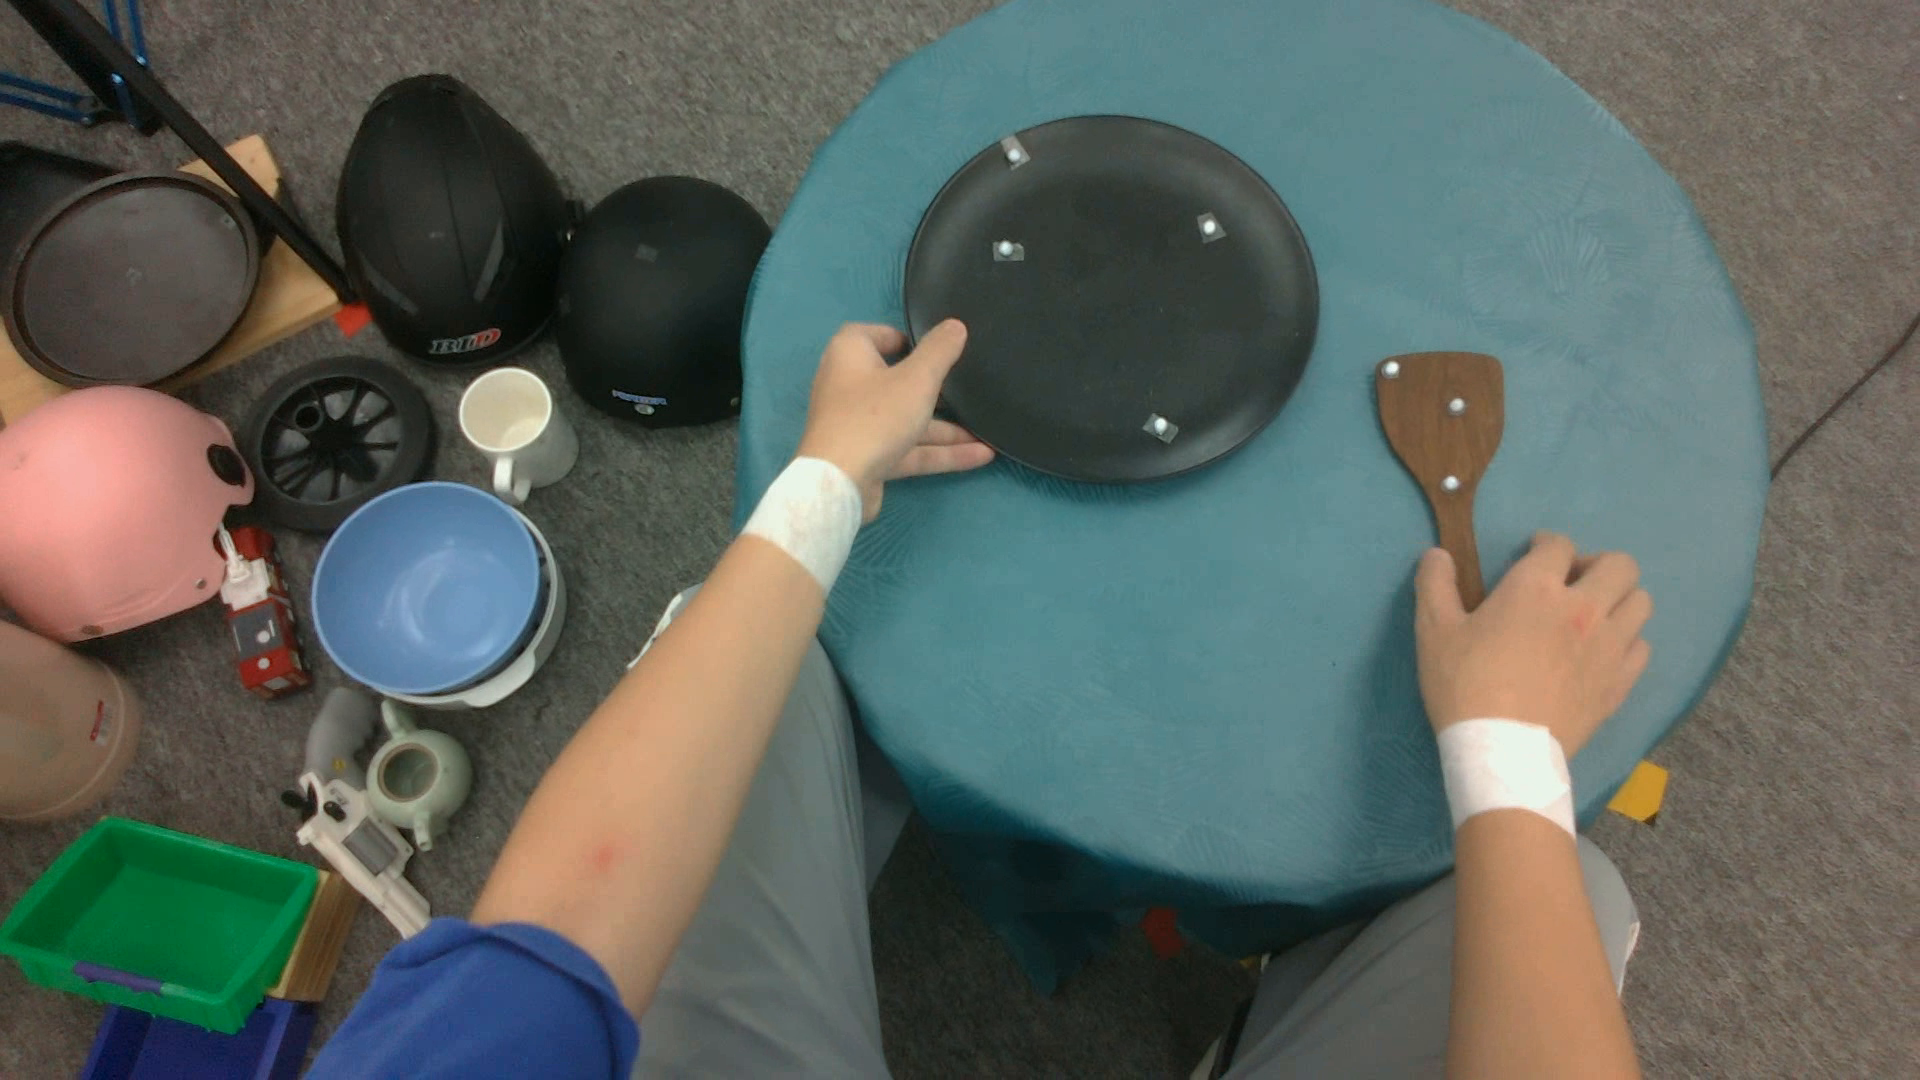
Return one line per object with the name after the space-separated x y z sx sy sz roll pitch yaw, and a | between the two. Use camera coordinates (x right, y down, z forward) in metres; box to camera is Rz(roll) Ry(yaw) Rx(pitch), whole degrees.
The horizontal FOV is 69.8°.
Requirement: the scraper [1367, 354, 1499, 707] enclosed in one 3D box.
0.278 -0.009 0.785 0.076 0.011 0.212 0 71 0 | scraper

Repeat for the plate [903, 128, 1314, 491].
0.088 -0.140 0.824 0.244 0.023 0.245 0 70 0 | plate
